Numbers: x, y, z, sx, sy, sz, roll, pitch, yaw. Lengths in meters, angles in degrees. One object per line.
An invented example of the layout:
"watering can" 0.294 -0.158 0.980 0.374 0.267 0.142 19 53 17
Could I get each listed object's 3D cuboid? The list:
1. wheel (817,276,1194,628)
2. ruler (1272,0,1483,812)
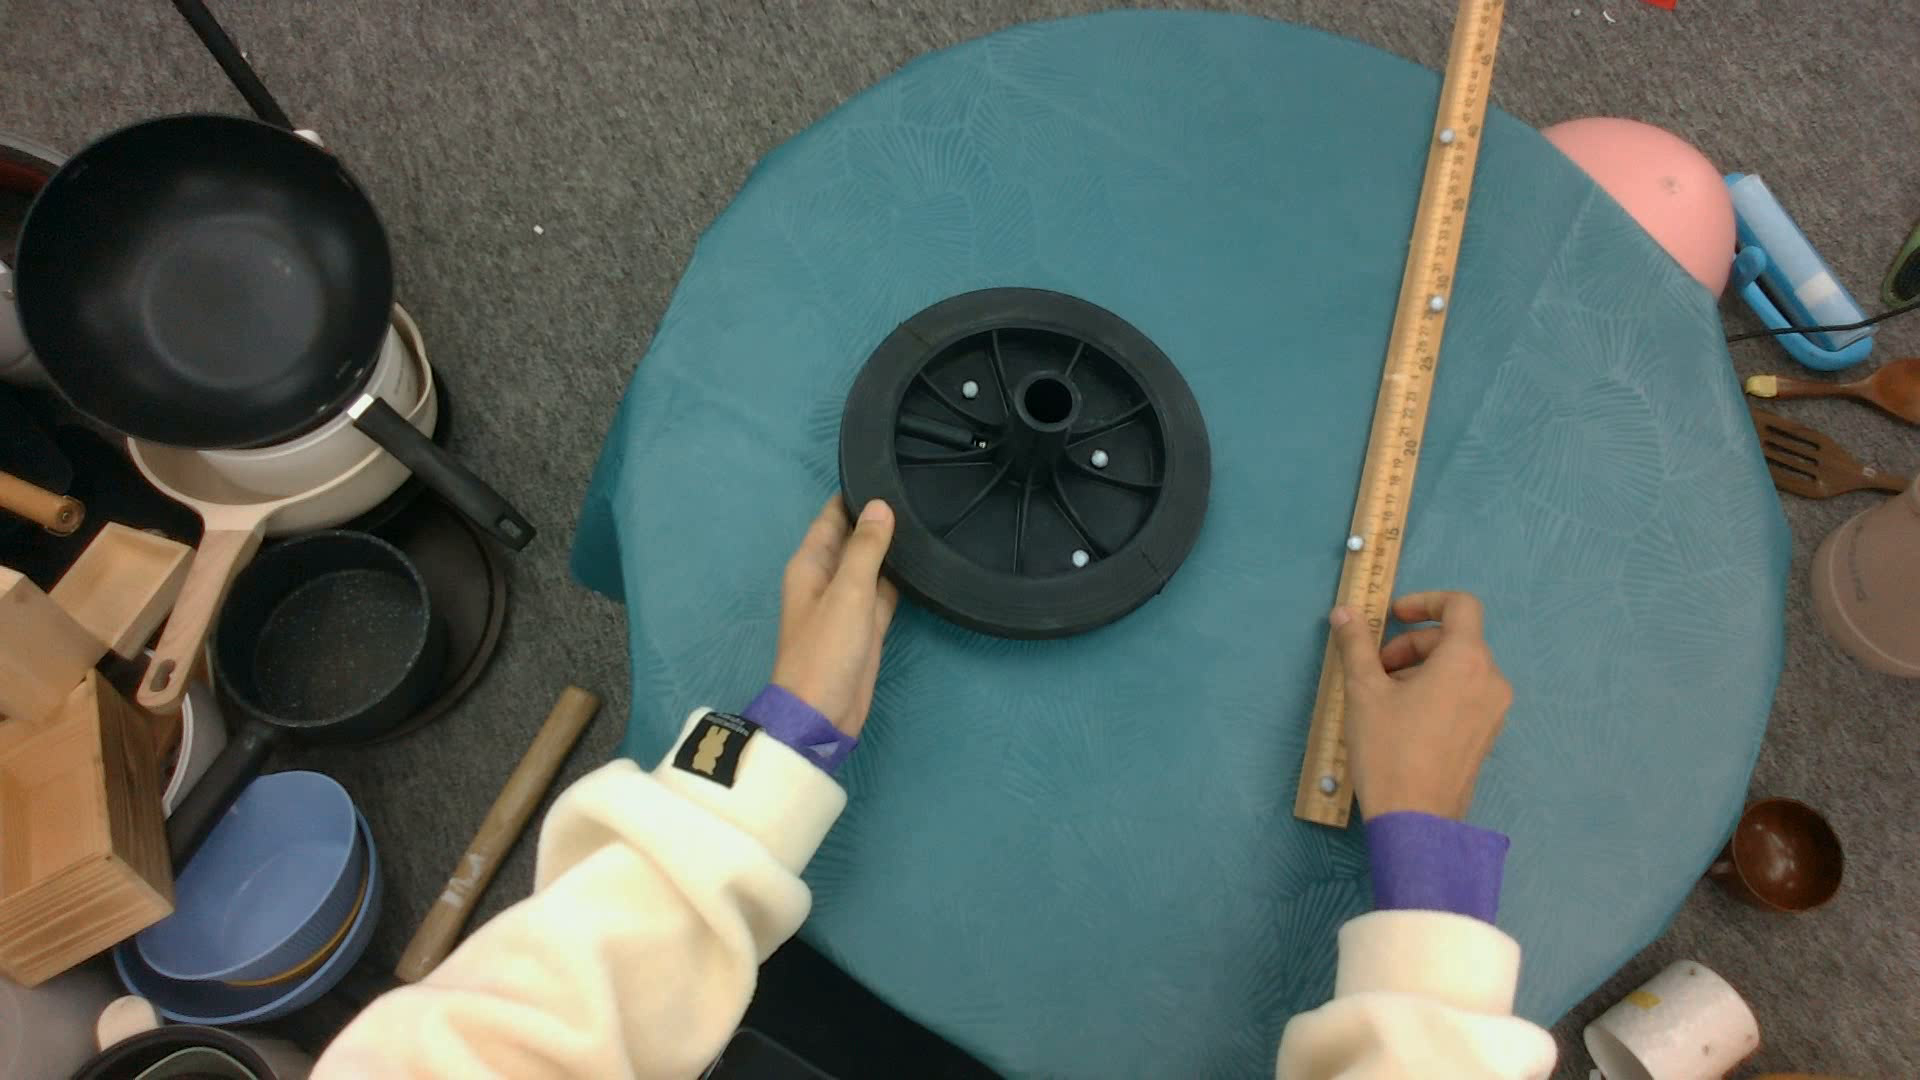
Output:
"wheel" 0.026 -0.055 0.670 0.190 0.079 0.188 -6 70 -10
"ruler" 0.229 -0.100 0.733 0.027 0.006 0.502 8 69 23
